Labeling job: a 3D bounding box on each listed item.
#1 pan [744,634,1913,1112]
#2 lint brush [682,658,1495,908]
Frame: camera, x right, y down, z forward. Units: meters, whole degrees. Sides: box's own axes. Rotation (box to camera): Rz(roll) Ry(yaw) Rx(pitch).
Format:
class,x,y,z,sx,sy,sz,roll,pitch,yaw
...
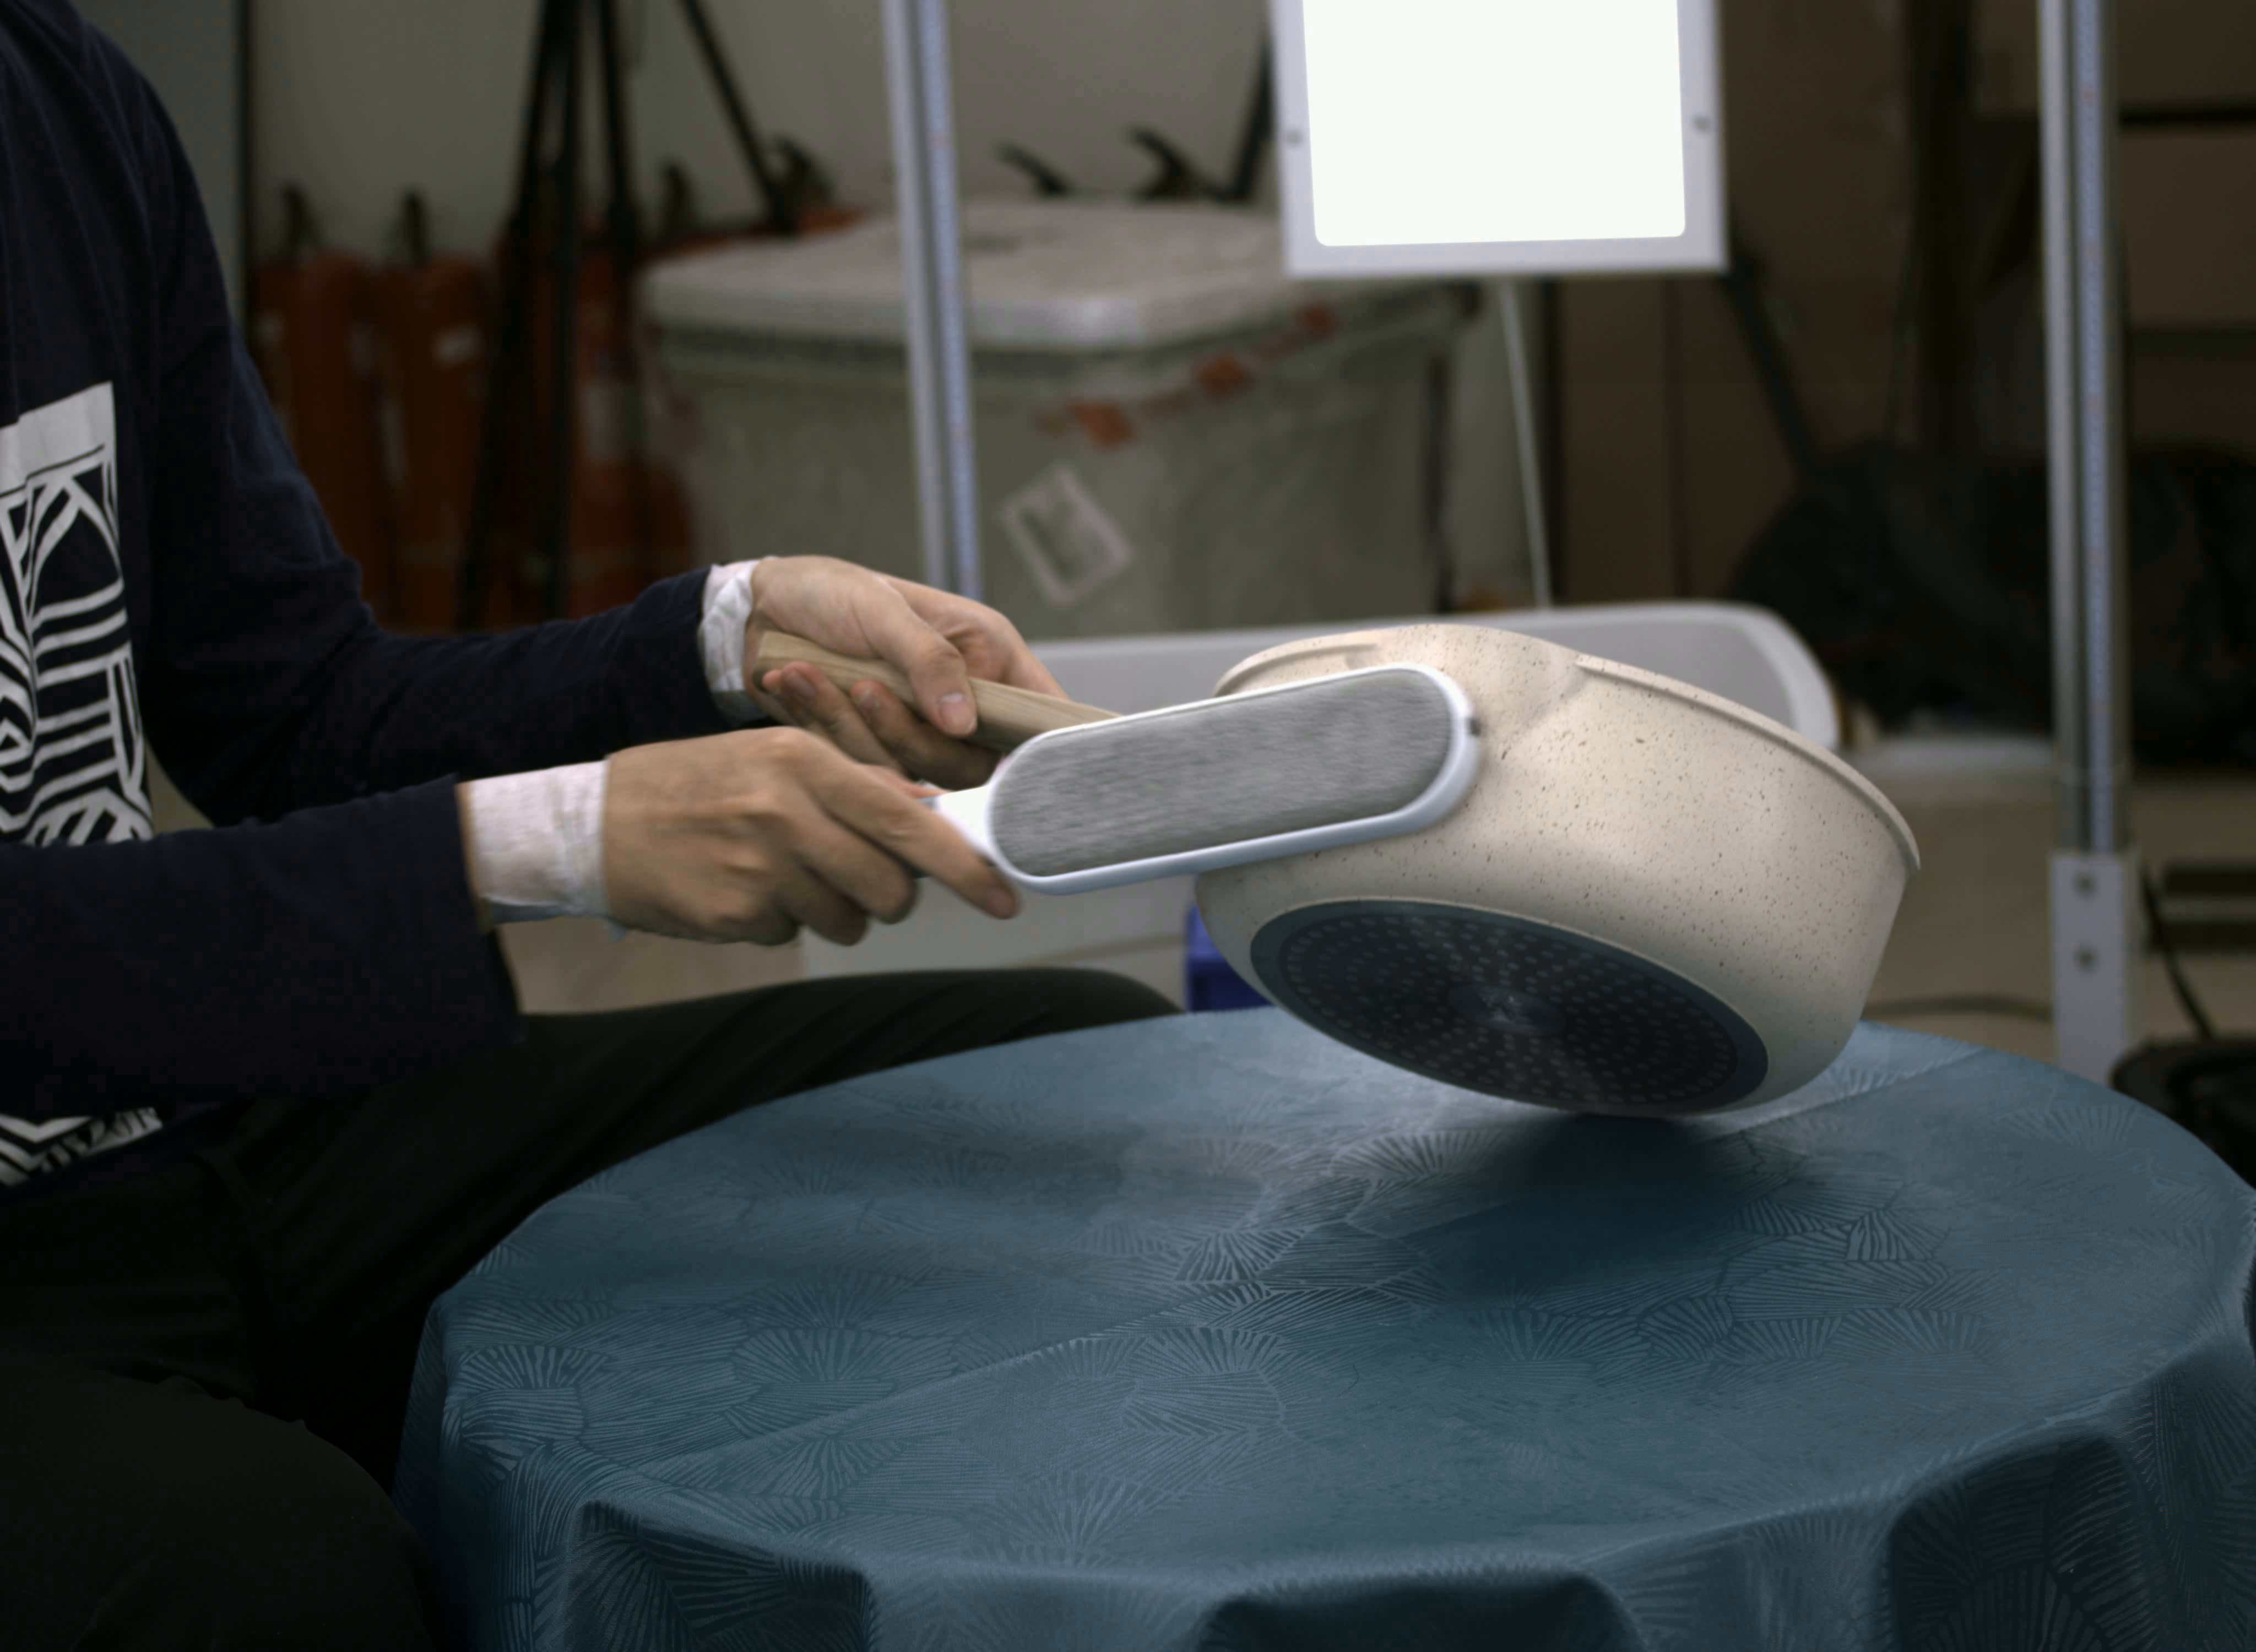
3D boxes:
class,x,y,z,sx,sy,sz,roll,pitch,yaw
pan,0.054,0.009,1.915,0.441,0.101,0.260,8,-18,22
lint brush,-0.018,-0.008,1.824,0.315,0.060,0.020,-10,-19,30
